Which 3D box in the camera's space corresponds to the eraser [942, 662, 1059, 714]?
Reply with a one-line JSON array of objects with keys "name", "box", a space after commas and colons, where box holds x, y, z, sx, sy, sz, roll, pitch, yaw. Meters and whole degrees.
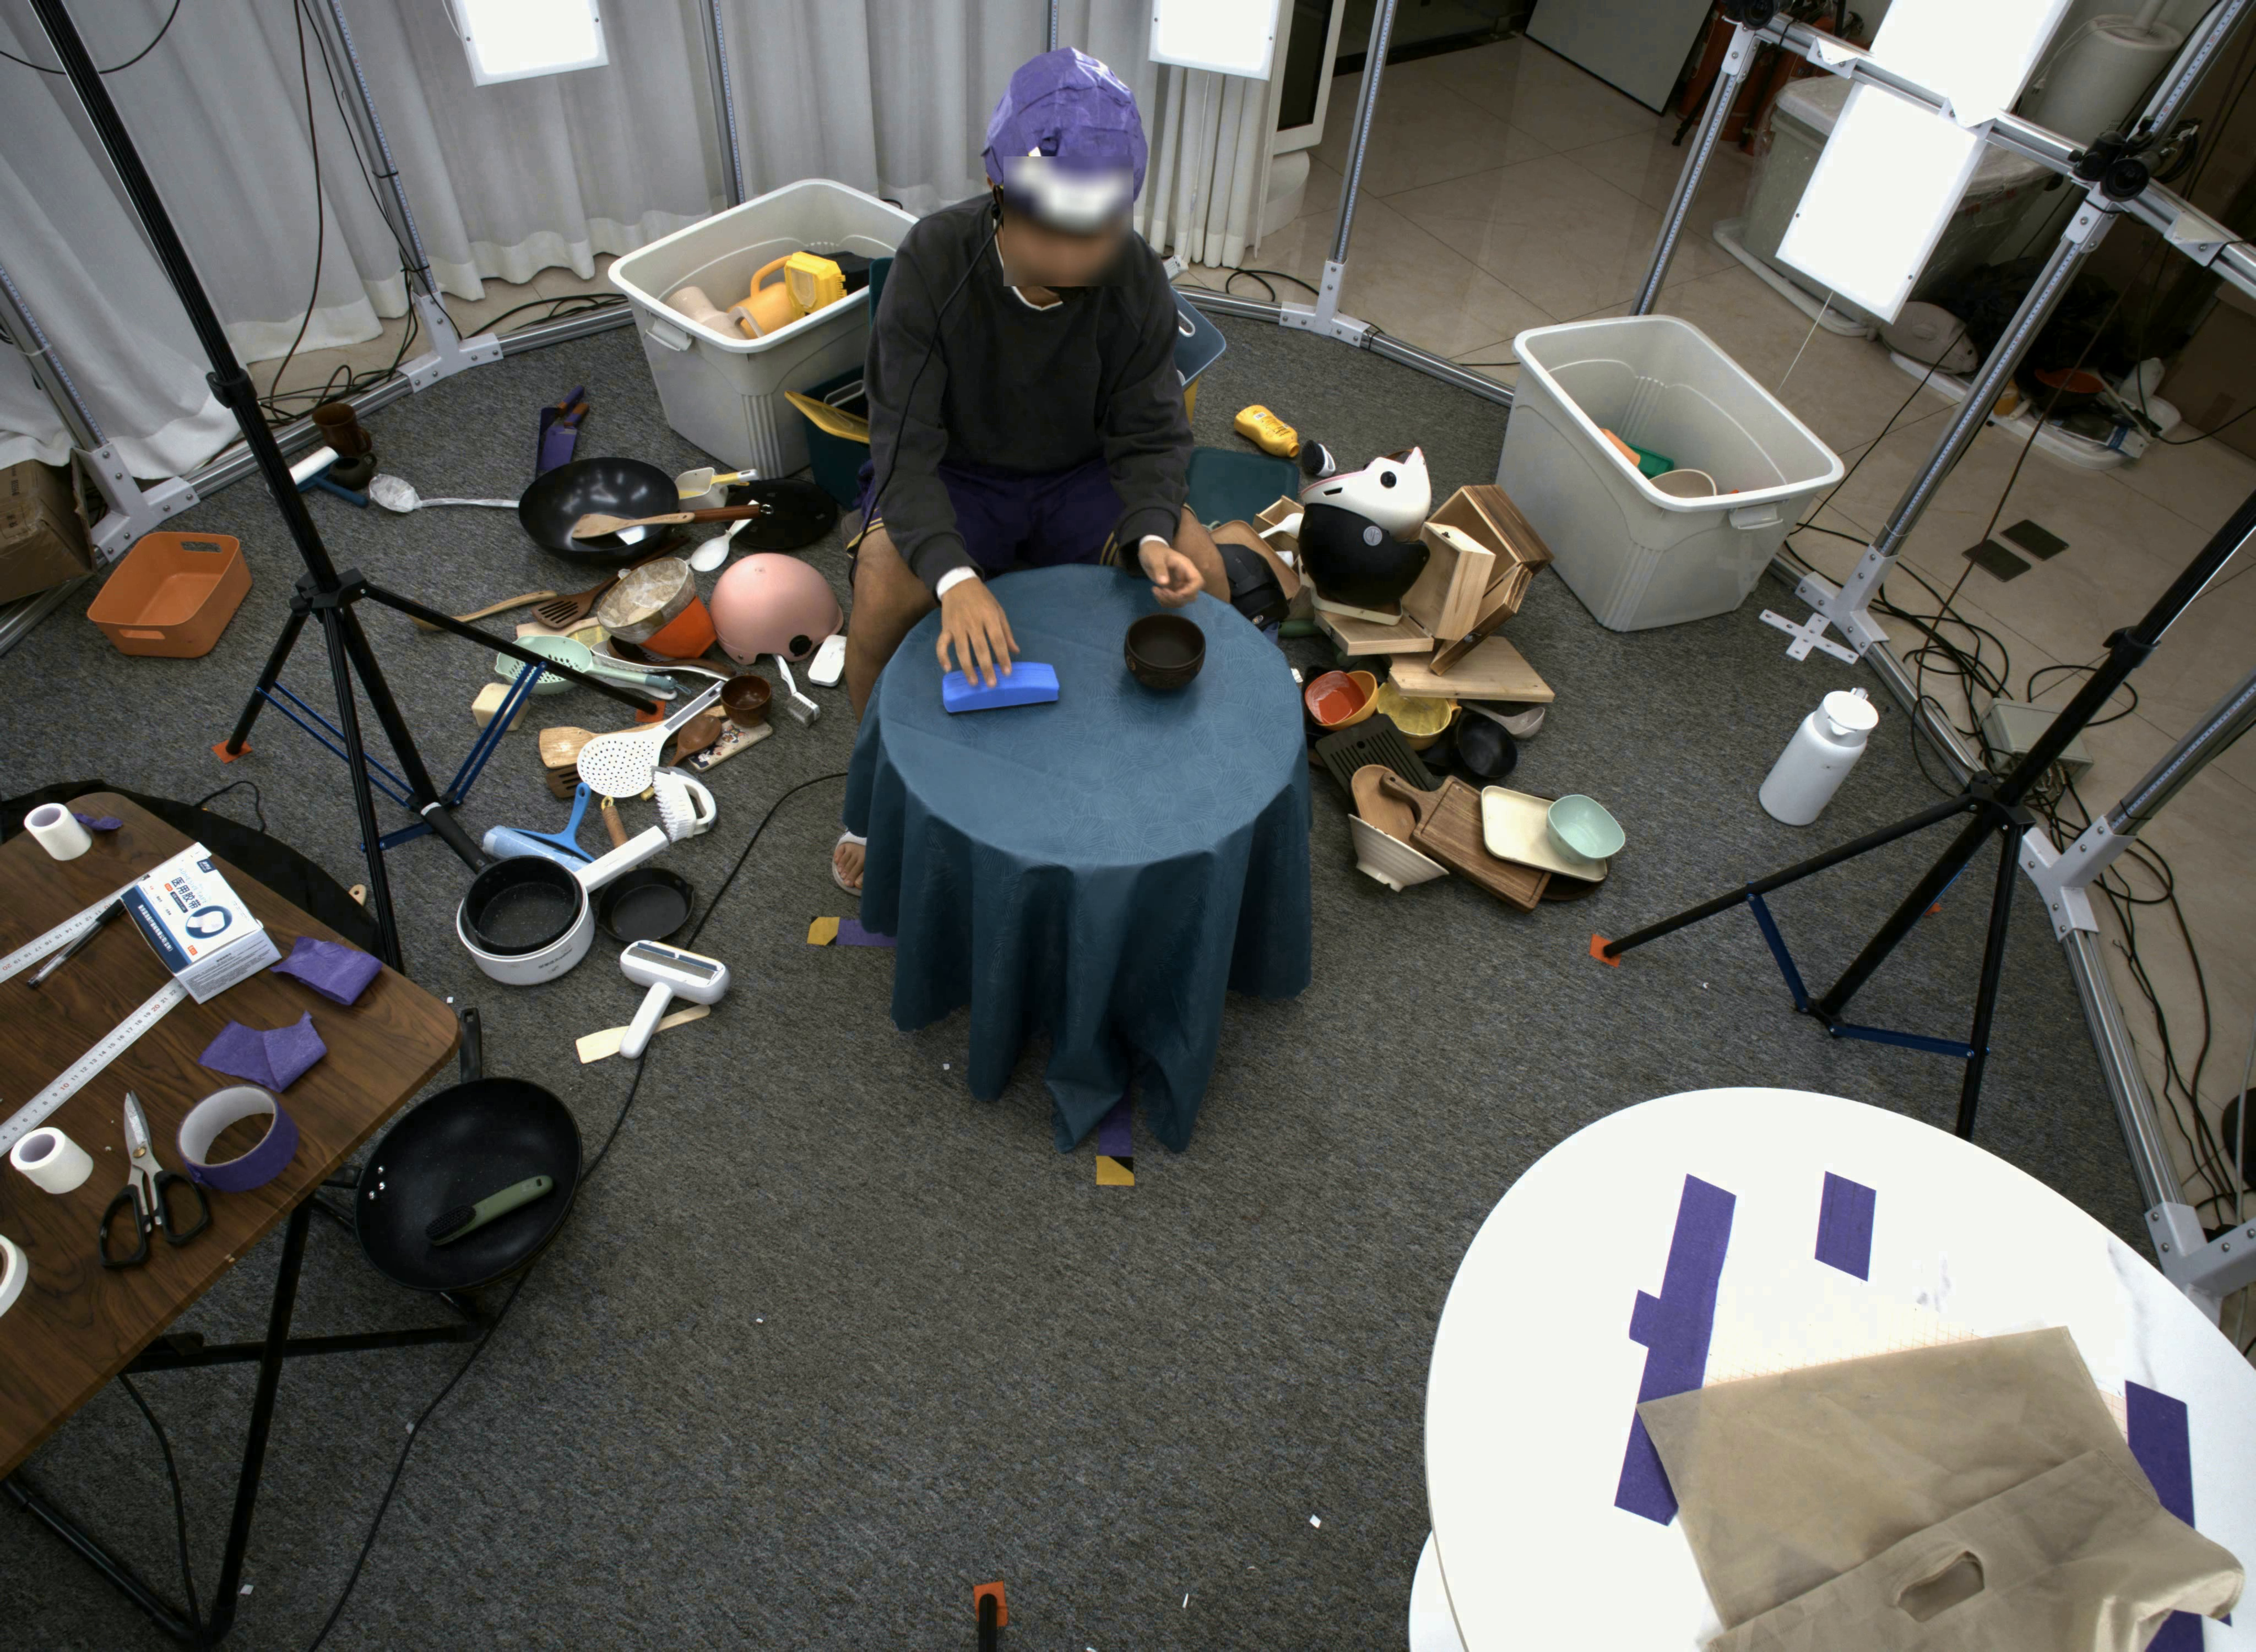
[{"name": "eraser", "box": [-0.178, -0.196, 1.795, 0.162, 0.046, 0.055, -8, 51, -11]}]

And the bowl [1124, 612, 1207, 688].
[{"name": "bowl", "box": [0.052, -0.243, 1.833, 0.118, 0.068, 0.121, 1, 48, -2]}]
